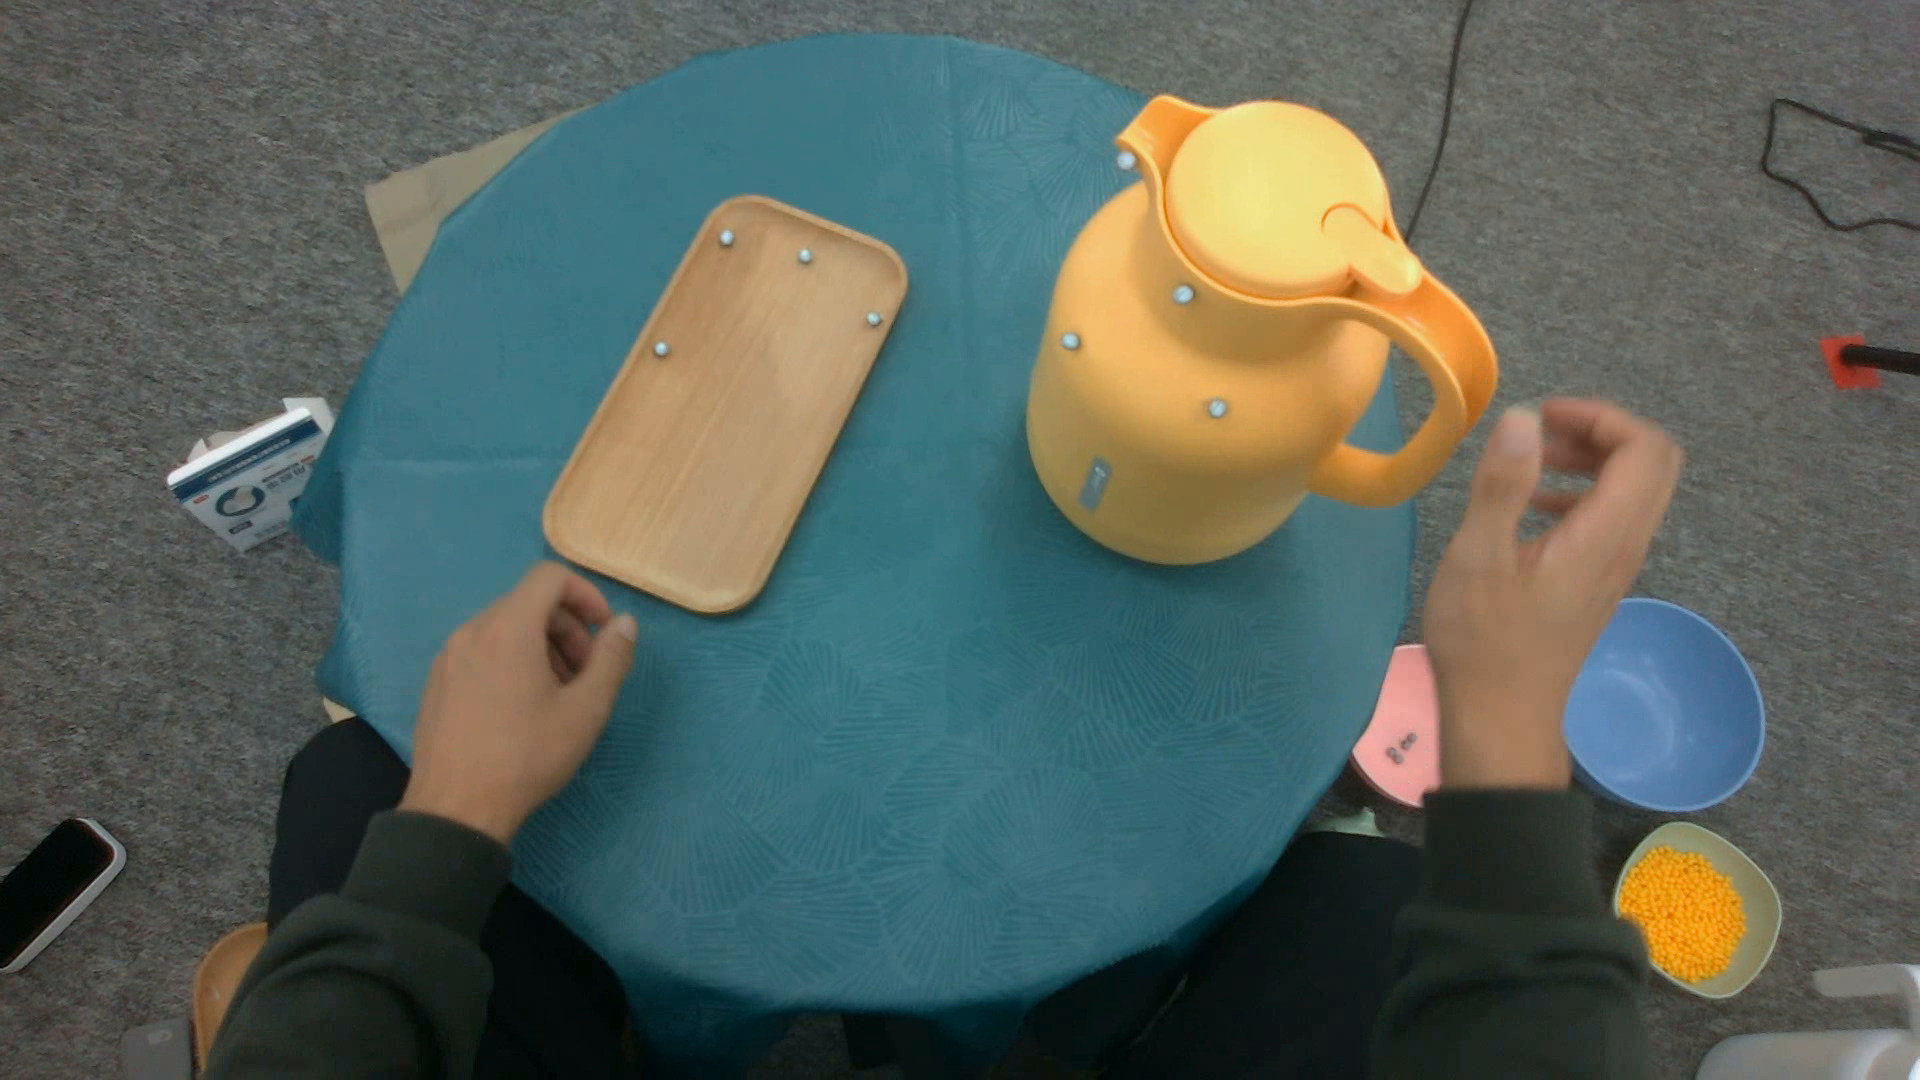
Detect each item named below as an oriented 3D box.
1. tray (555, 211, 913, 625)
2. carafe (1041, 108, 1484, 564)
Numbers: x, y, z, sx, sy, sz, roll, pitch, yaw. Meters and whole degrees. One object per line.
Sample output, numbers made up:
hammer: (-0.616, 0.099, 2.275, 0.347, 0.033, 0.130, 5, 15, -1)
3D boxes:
tray: (-0.125, -0.076, 0.794, 0.130, 0.023, 0.251, 21, 70, 8)
carafe: (0.140, -0.085, 0.679, 0.202, 0.259, 0.164, 39, 75, 13)
